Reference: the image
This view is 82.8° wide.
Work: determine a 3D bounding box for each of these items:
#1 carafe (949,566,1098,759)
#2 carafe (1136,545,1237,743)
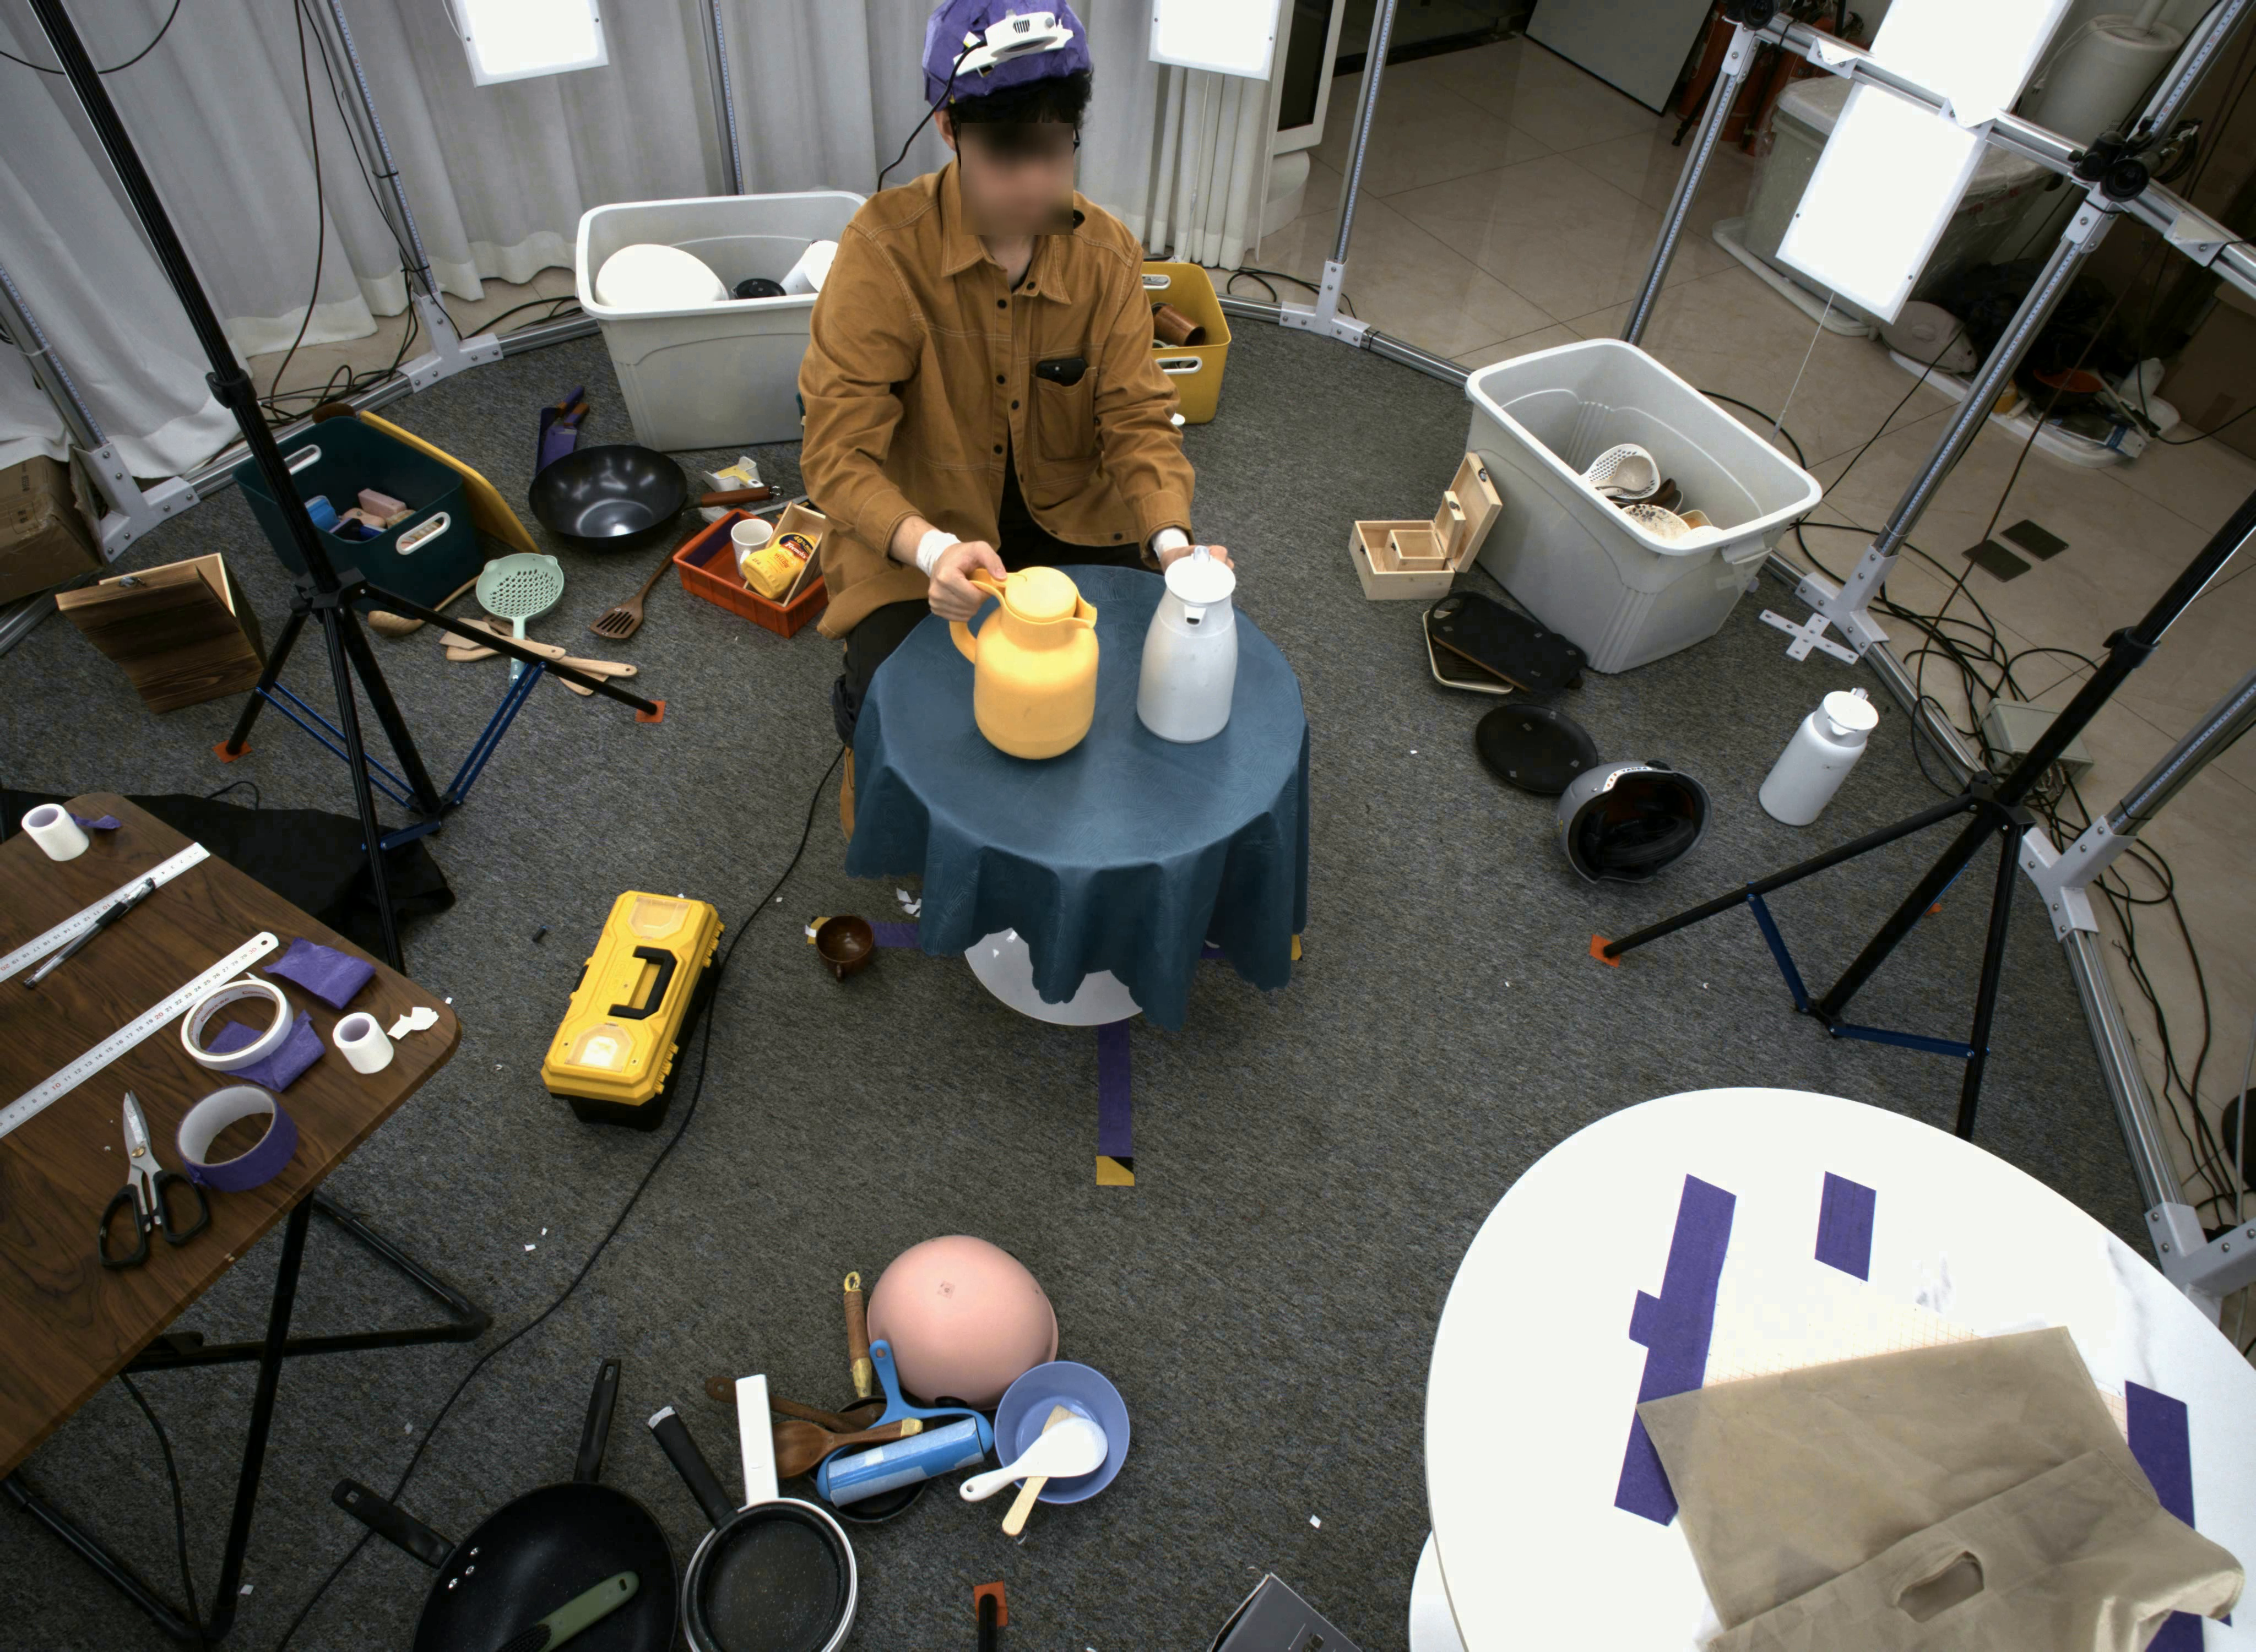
[{"bbox_3d":[-0.137,-0.226,1.674,0.203,0.254,0.166,25,53,10],"label":"carafe"},{"bbox_3d":[0.086,-0.257,1.738,0.132,0.242,0.172,8,49,3],"label":"carafe"}]
